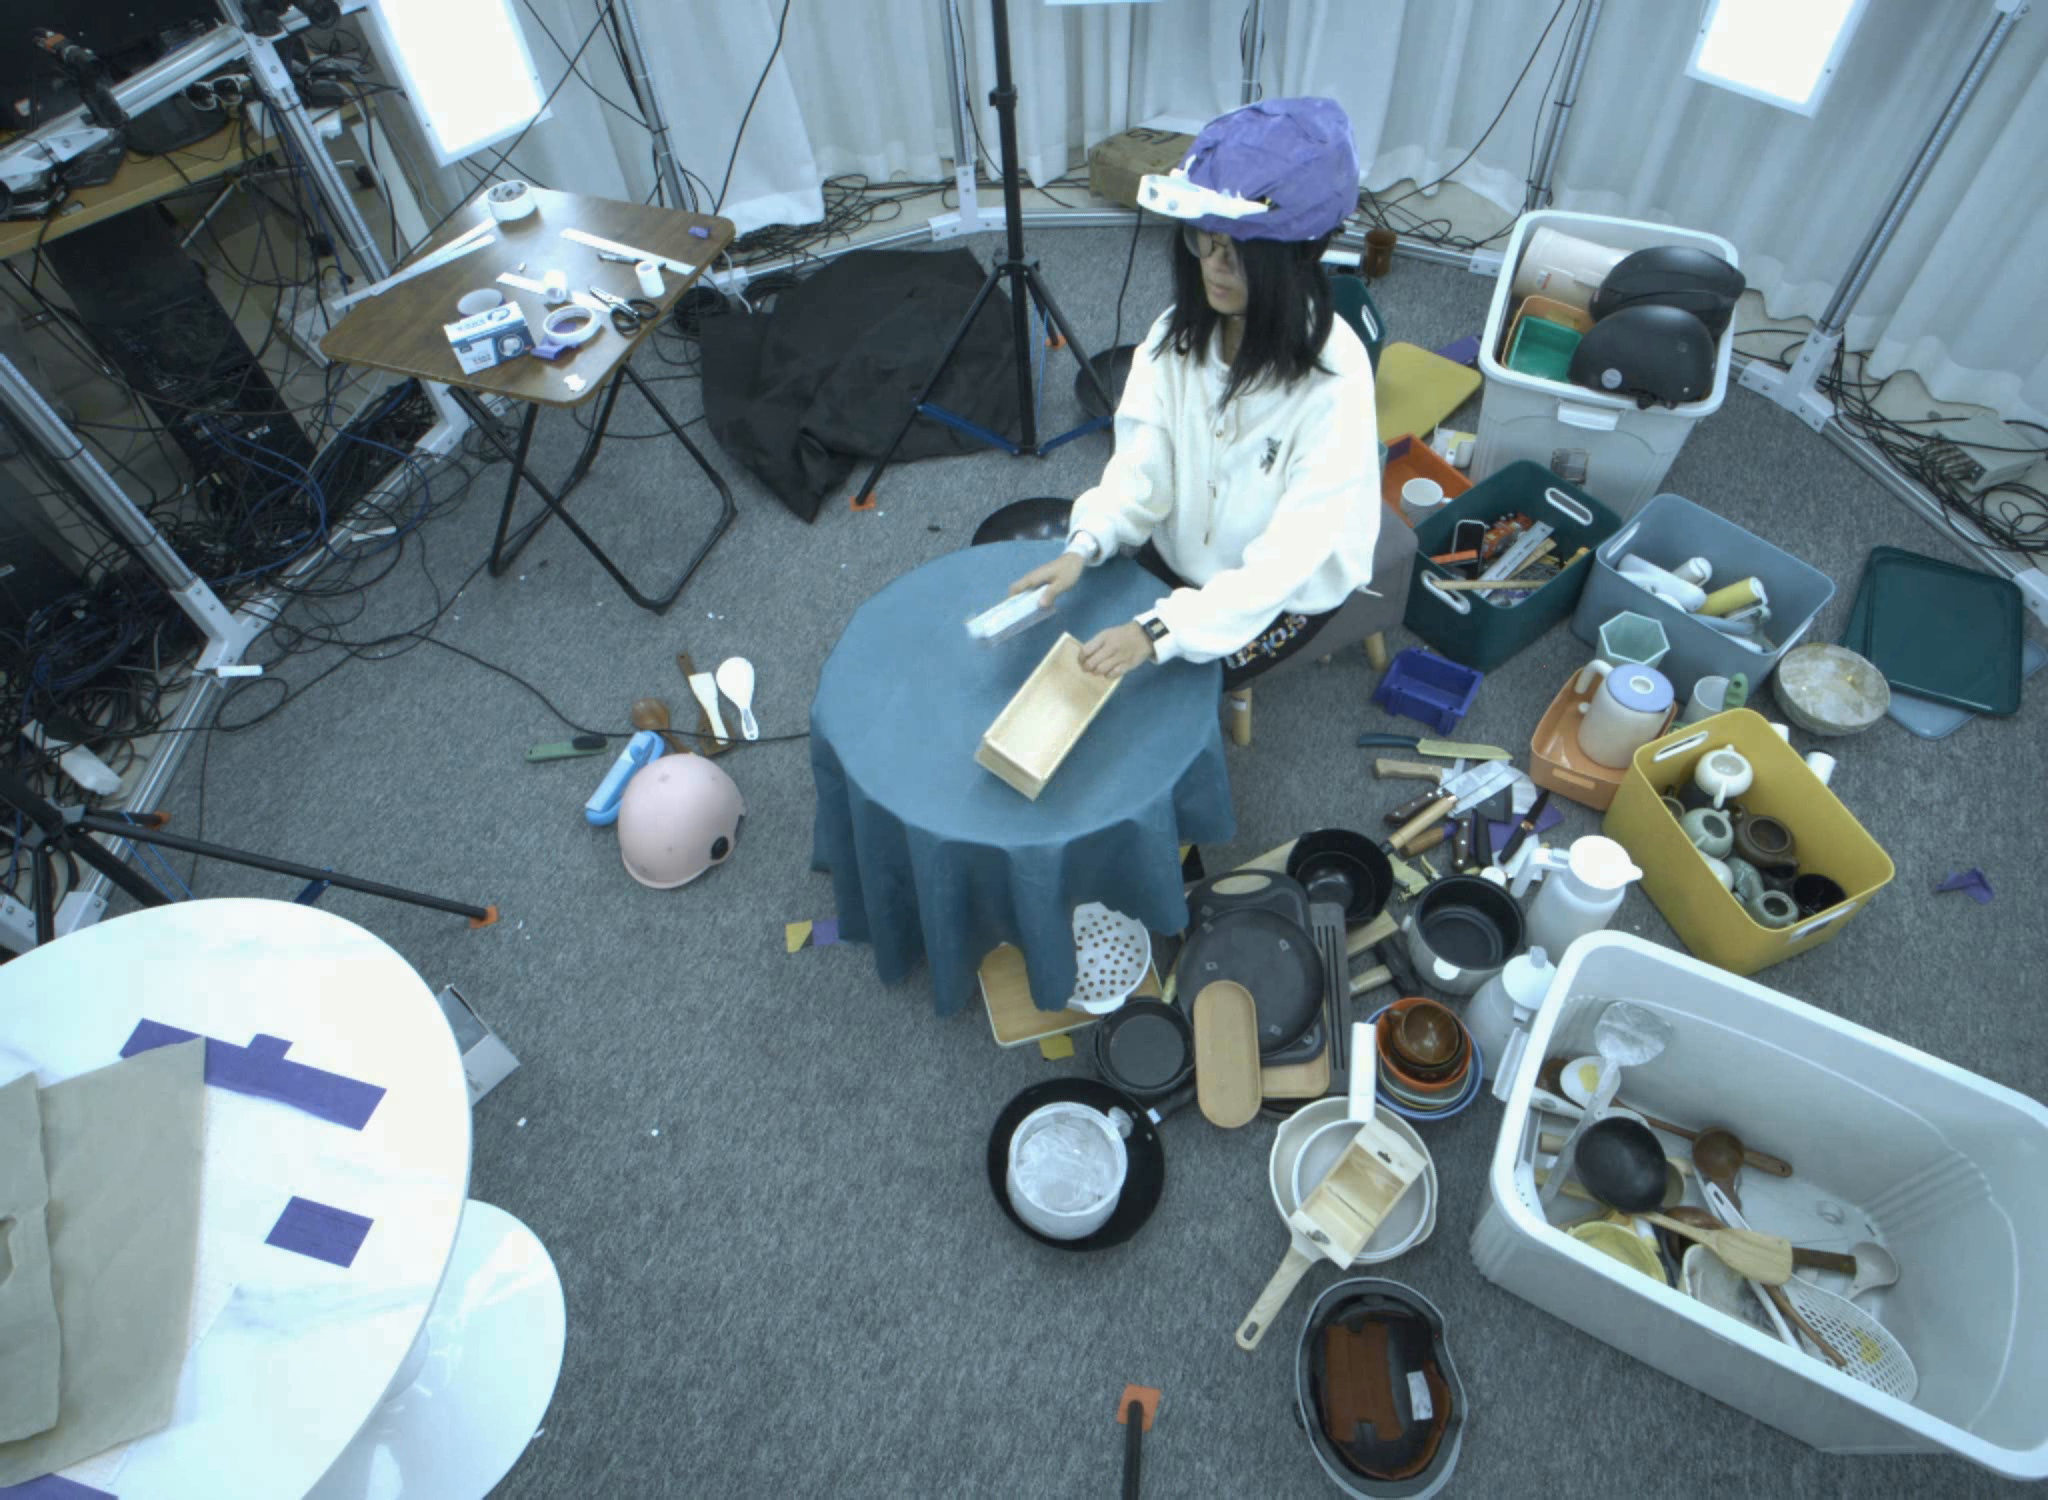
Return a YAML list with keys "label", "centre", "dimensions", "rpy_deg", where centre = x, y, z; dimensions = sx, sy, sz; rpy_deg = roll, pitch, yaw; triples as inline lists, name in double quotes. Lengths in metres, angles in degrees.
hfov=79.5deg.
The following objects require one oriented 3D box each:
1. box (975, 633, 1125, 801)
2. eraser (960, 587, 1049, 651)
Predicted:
- label: "box"
  centre: [0.037, -0.048, 1.748]
  dimensions: [0.107, 0.080, 0.212]
  rpy_deg: [35, 65, 3]
- label: "eraser"
  centre: [-0.027, -0.197, 1.834]
  dimensions: [0.135, 0.047, 0.048]
  rpy_deg: [-36, 25, -32]
